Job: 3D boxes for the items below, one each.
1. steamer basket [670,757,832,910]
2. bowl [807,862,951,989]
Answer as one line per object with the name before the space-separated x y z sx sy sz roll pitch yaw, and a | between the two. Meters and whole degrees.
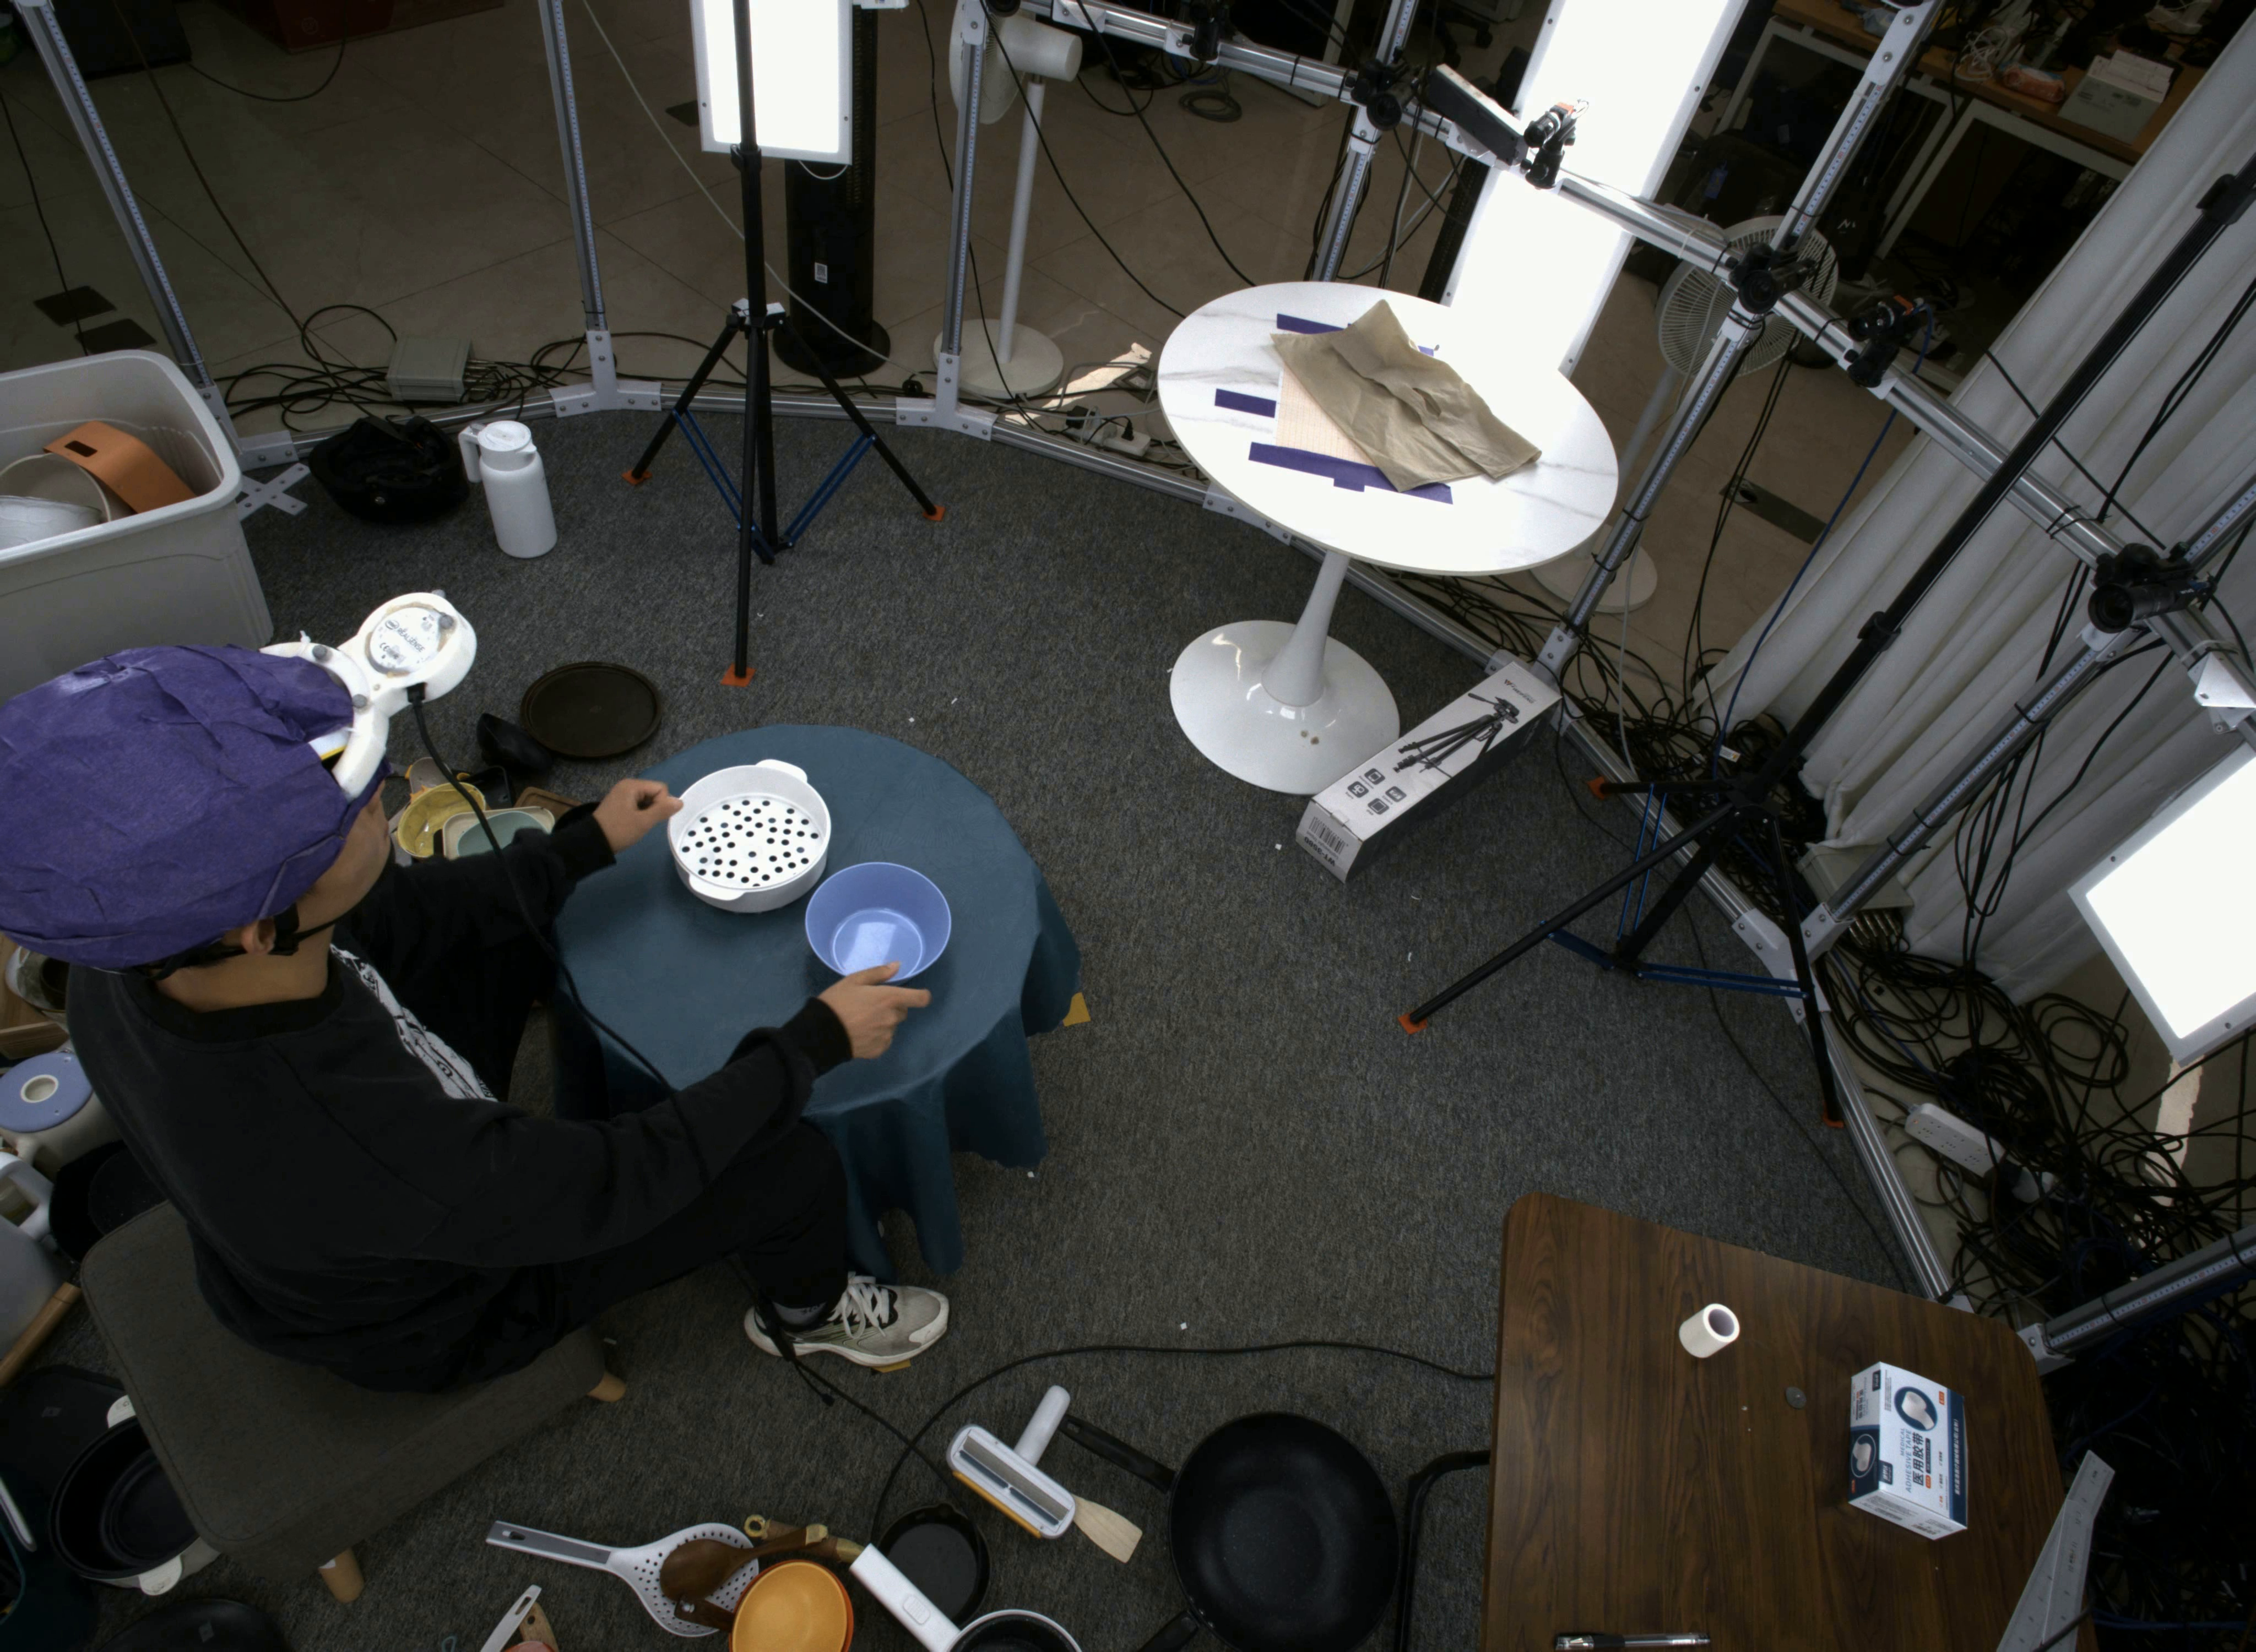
steamer basket | -0.482 0.013 1.660 0.200 0.070 0.228 18 49 -1
bowl | -0.308 0.133 1.614 0.175 0.072 0.173 7 52 -7
